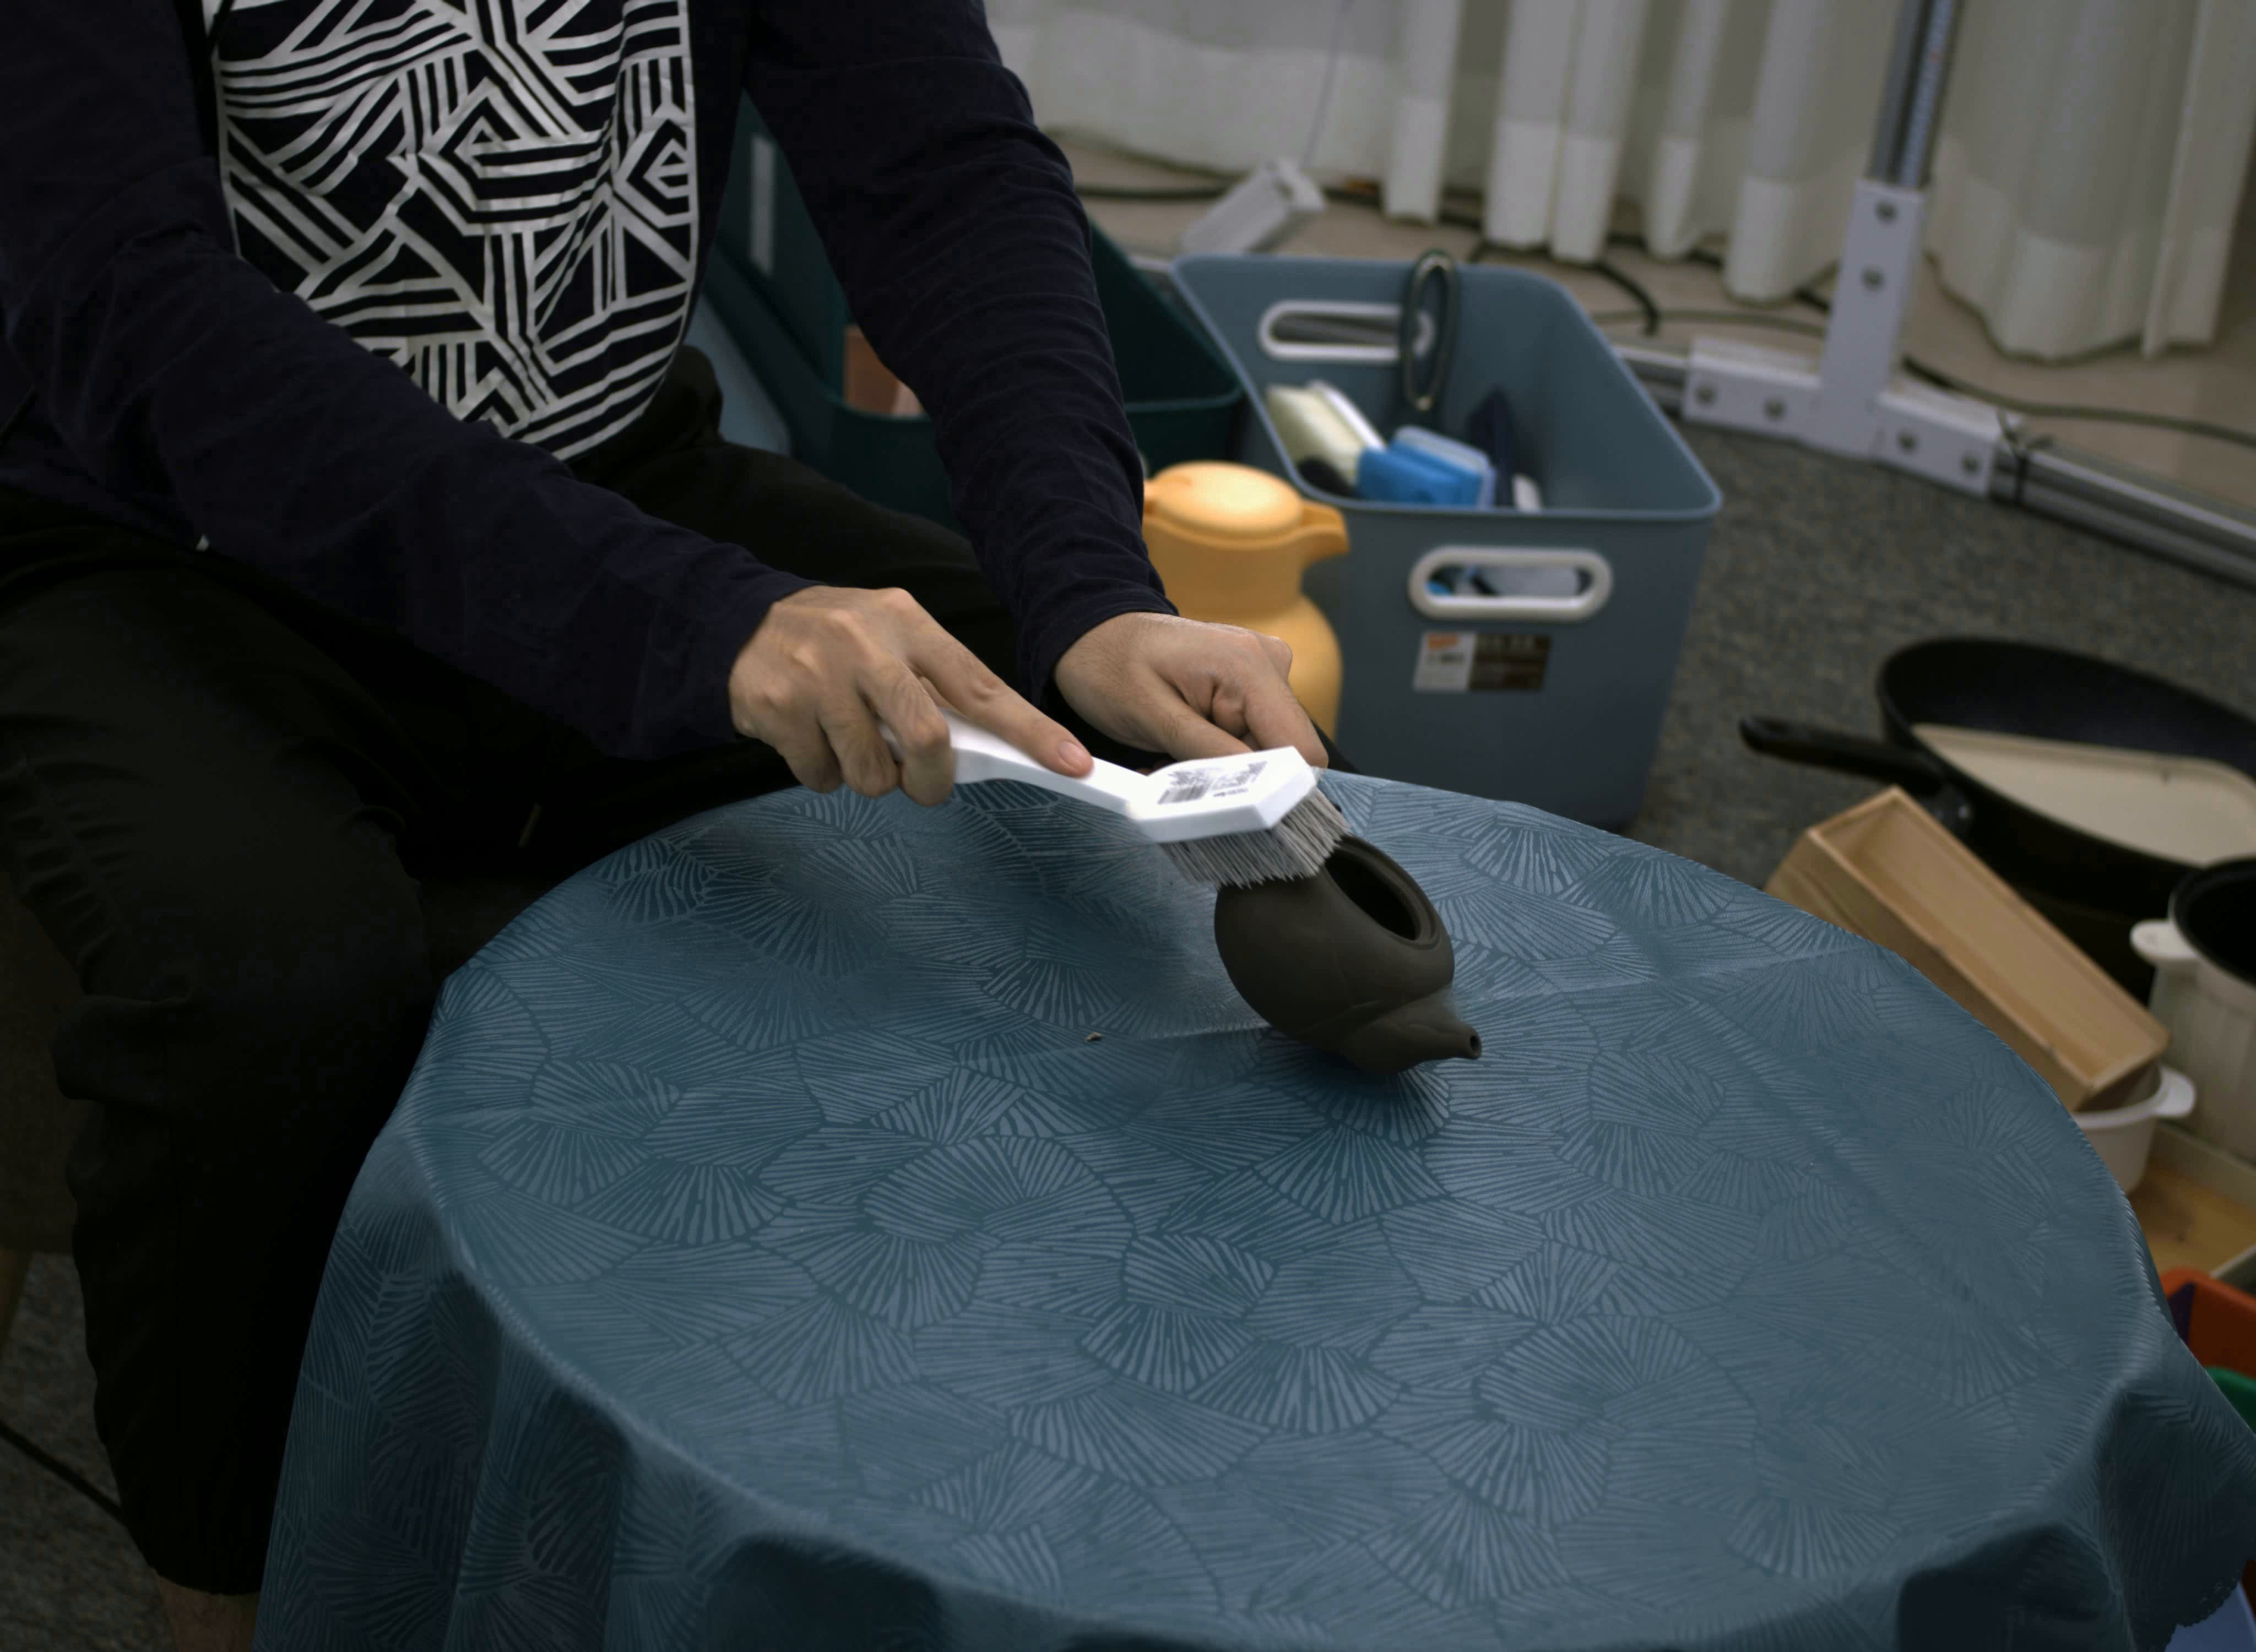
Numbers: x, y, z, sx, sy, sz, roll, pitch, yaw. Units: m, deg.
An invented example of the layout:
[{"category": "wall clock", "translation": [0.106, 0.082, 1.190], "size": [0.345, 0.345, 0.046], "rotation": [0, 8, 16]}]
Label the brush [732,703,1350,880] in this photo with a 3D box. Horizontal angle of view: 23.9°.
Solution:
[{"category": "brush", "translation": [-0.034, -0.013, 1.907], "size": [0.244, 0.050, 0.034], "rotation": [6, 49, 30]}]

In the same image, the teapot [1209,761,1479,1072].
[{"category": "teapot", "translation": [0.071, 0.038, 1.904], "size": [0.091, 0.064, 0.155], "rotation": [10, 37, -50]}]
